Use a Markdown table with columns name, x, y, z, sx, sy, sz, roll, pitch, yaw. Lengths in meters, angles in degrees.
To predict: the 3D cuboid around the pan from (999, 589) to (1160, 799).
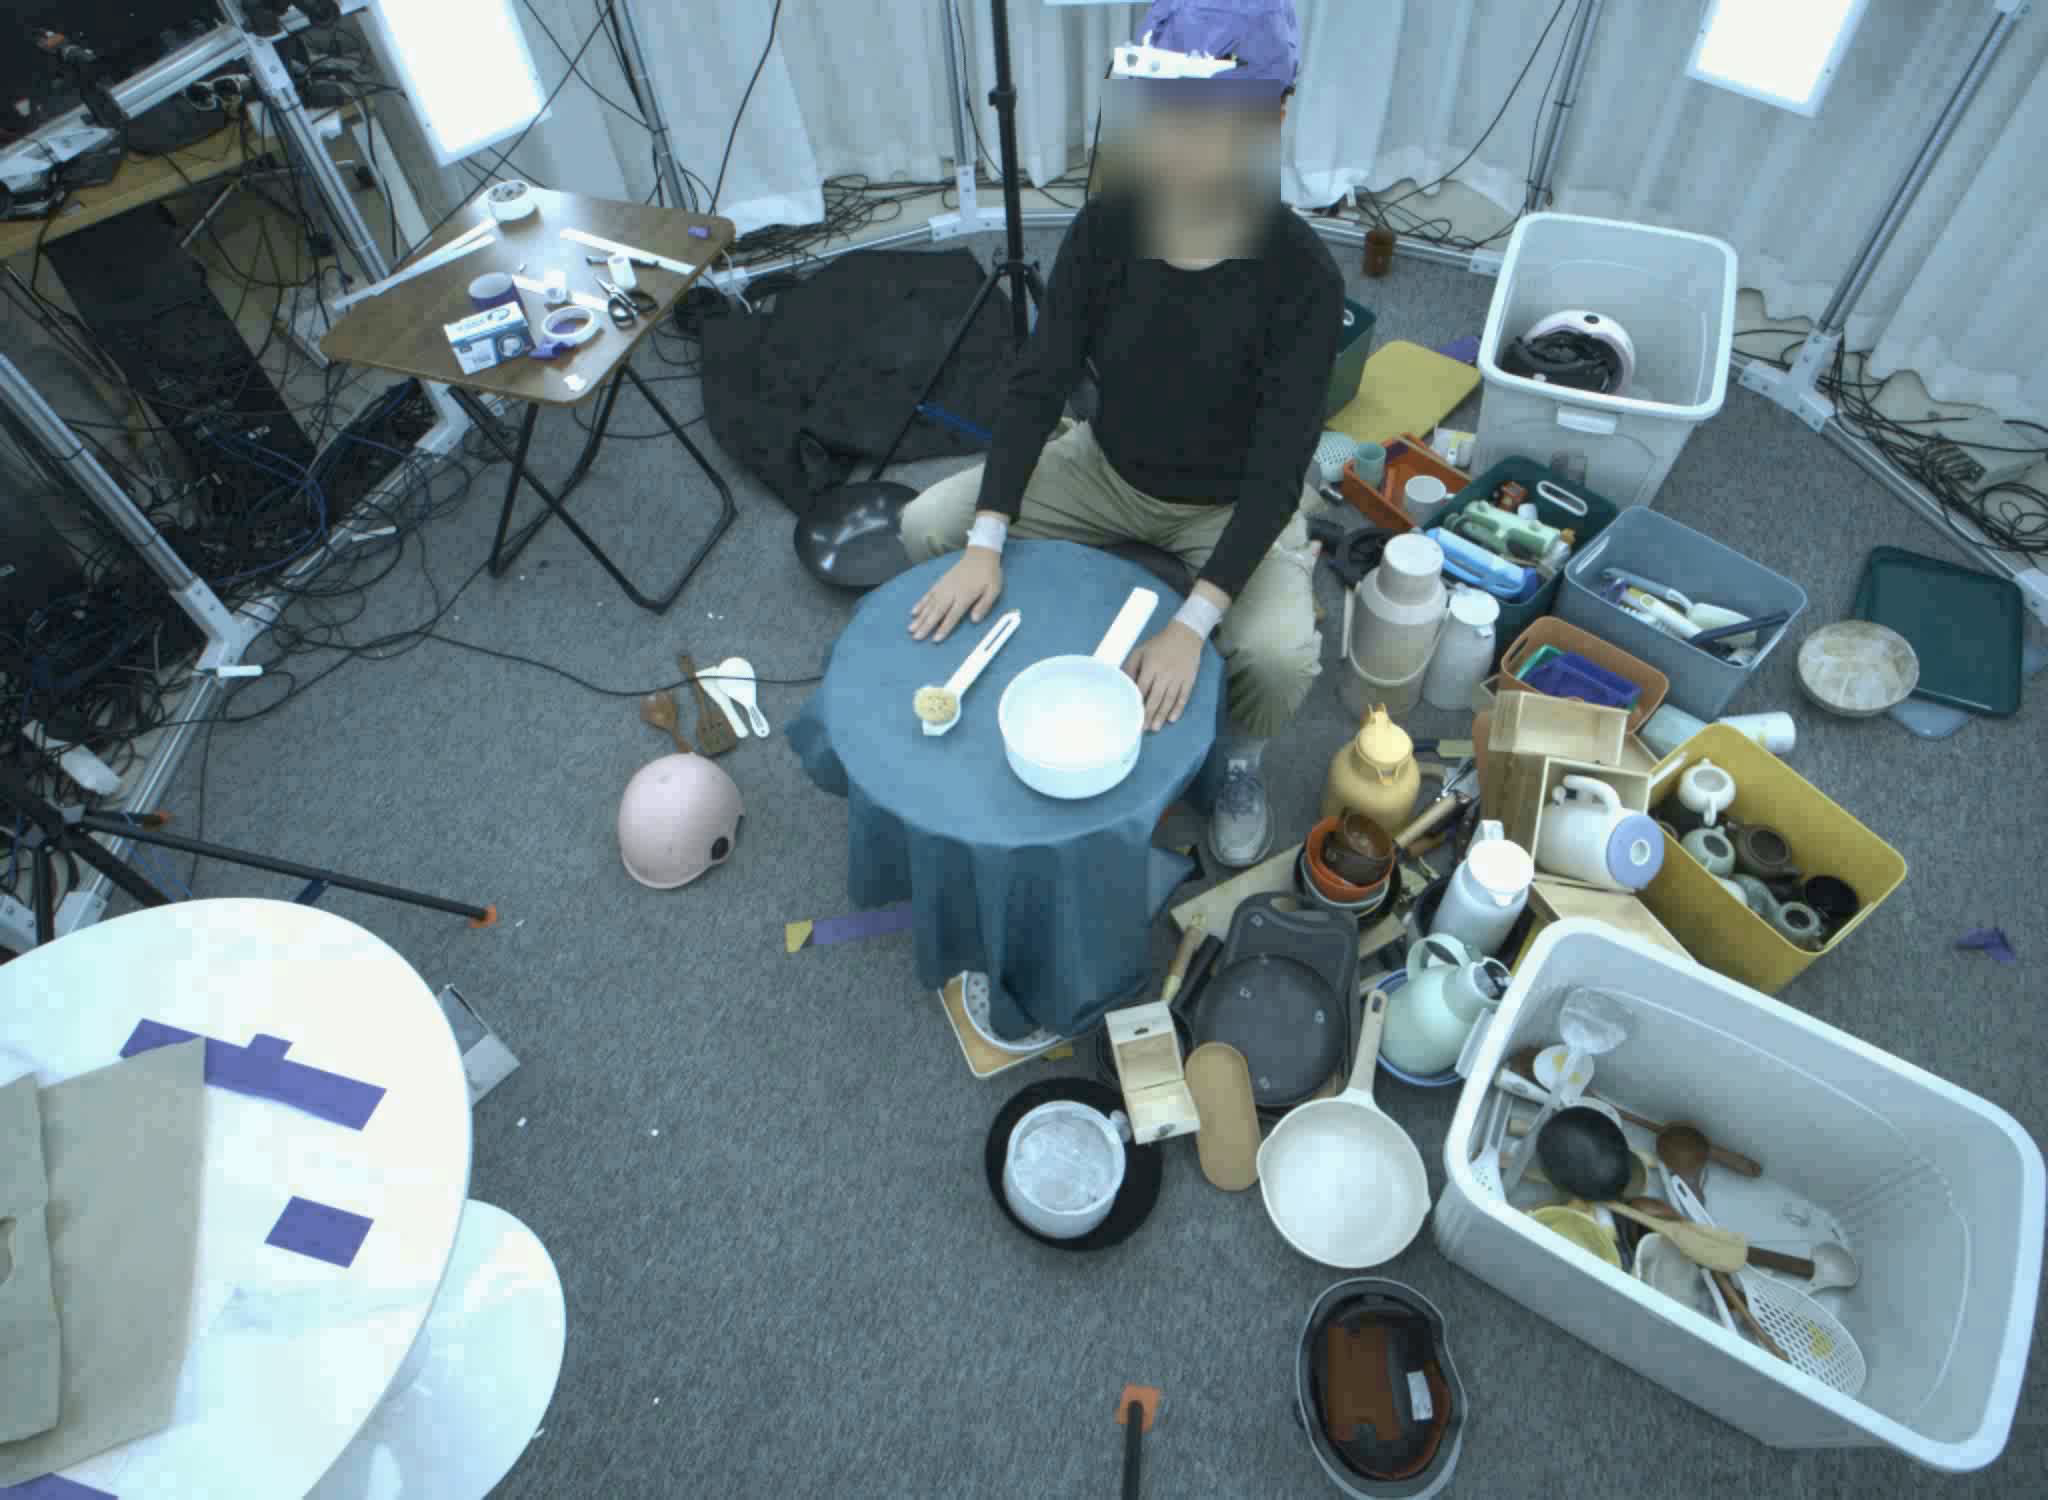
| name | x | y | z | sx | sy | sz | roll | pitch | yaw |
| --- | --- | --- | --- | --- | --- | --- | --- | --- | --- |
| pan | 0.104 | -0.083 | 1.784 | 0.198 | 0.103 | 0.355 | 21 | 57 | 18 |

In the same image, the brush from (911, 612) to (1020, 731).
| name | x | y | z | sx | sy | sz | roll | pitch | yaw |
| --- | --- | --- | --- | --- | --- | --- | --- | --- | --- |
| brush | -0.083 | -0.136 | 1.854 | 0.068 | 0.056 | 0.267 | 26 | 59 | 15 |
